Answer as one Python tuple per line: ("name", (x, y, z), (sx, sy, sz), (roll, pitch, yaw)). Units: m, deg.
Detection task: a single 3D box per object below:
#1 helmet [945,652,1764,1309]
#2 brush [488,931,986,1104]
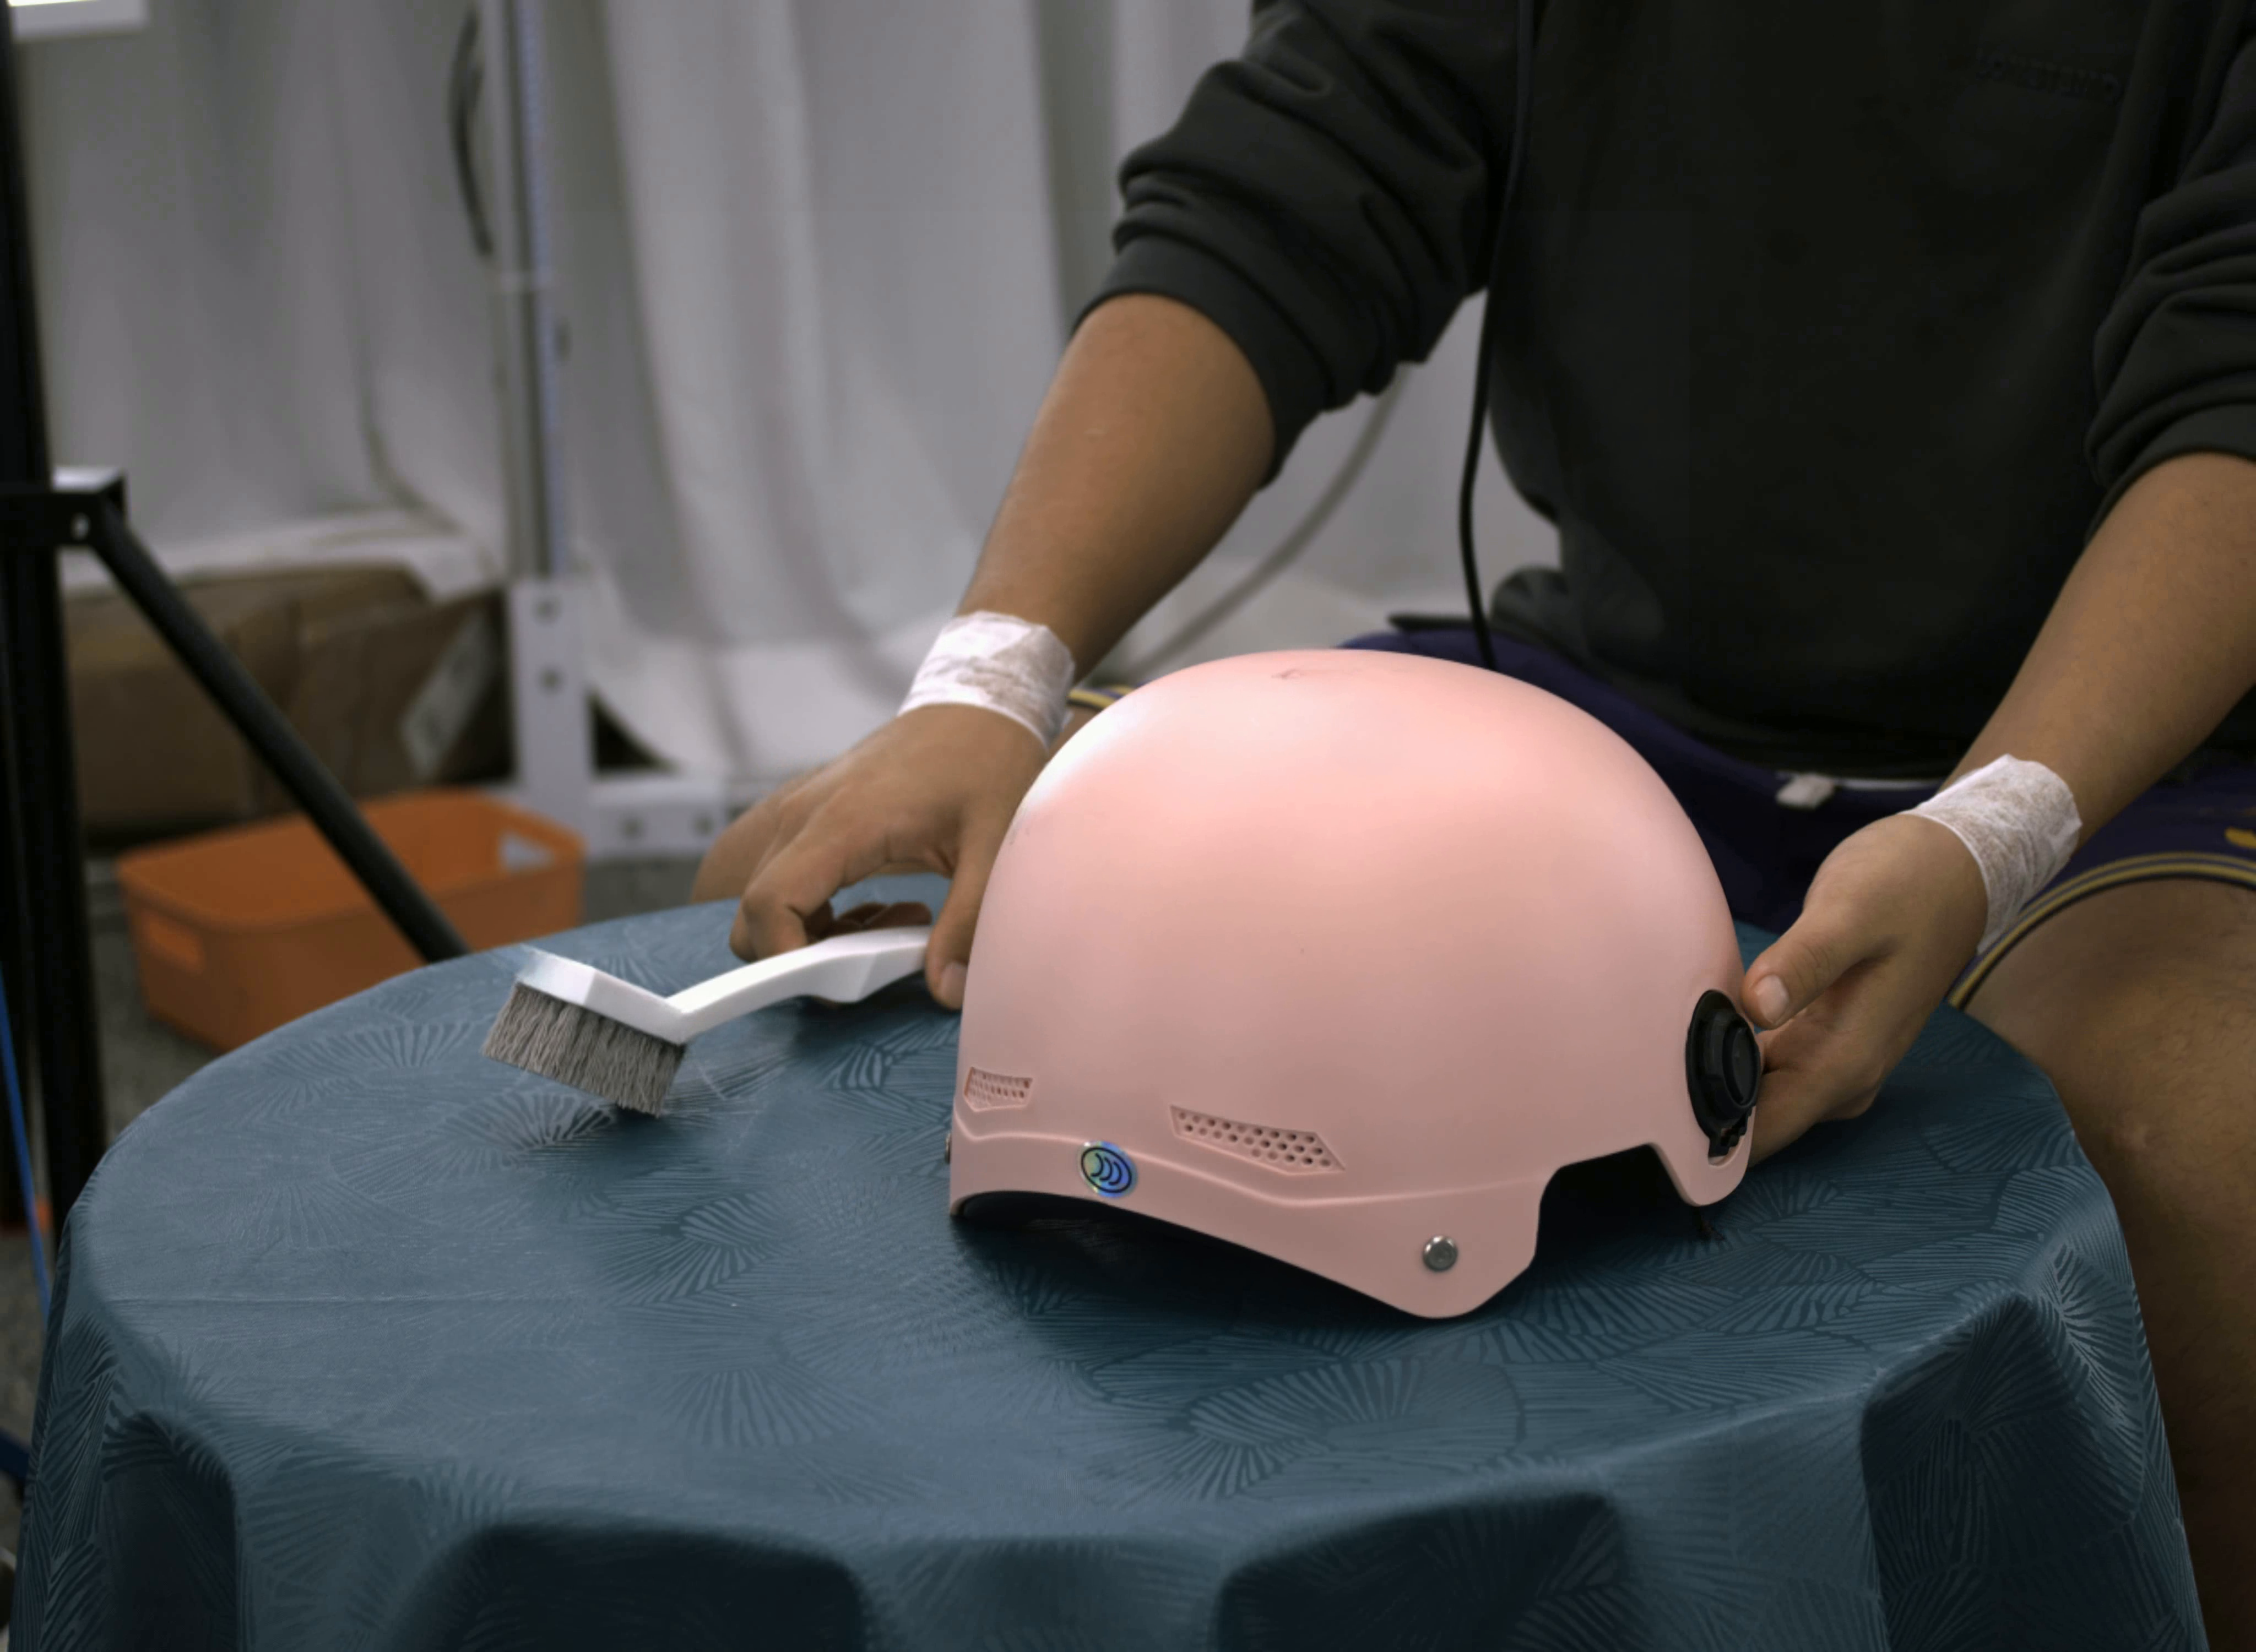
("helmet", (0.068, 0.028, 1.544), (0.239, 0.159, 0.260), (8, 16, 37))
("brush", (-0.112, 0.060, 1.704), (0.035, 0.050, 0.237), (12, 7, 36))
